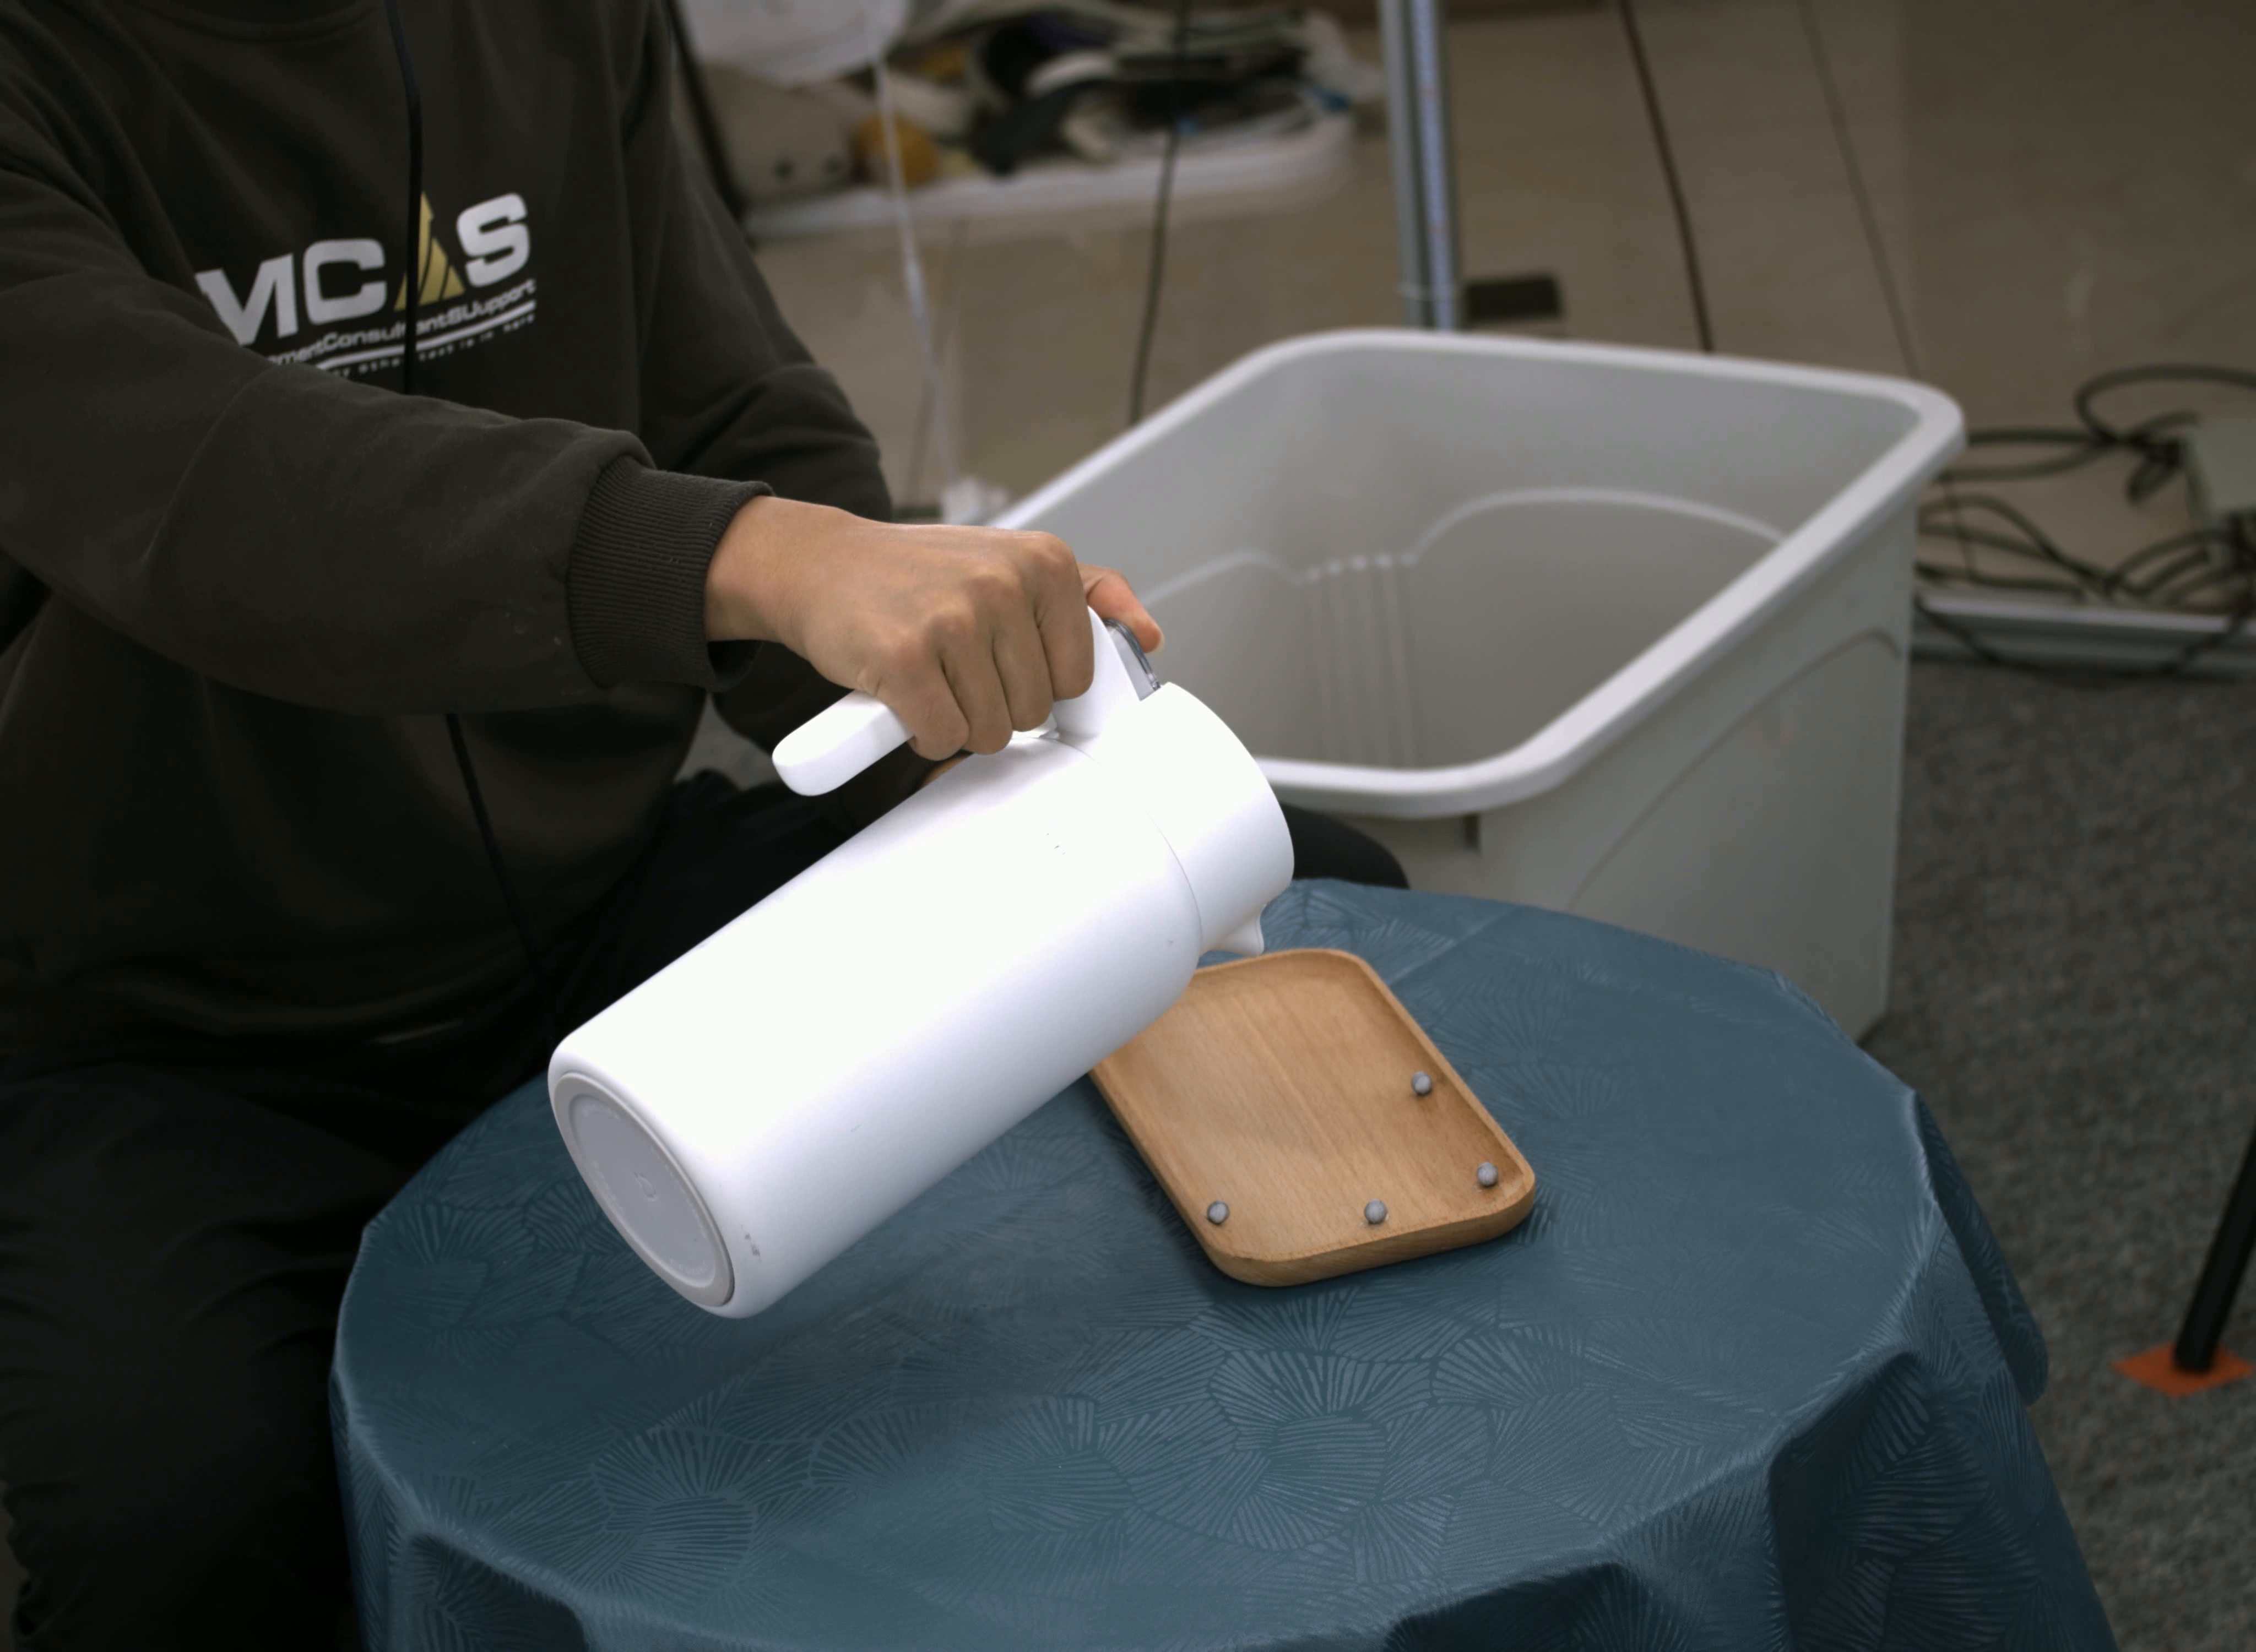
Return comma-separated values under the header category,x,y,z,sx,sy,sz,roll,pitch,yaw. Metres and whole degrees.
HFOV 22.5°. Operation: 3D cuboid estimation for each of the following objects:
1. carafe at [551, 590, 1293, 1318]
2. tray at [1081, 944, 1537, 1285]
category,x,y,z,sx,sy,sz,roll,pitch,yaw
carafe,-0.075,0.041,2.002,0.267,0.175,0.123,-35,28,-22
tray,0.064,0.109,2.178,0.130,0.023,0.247,-9,24,-12
